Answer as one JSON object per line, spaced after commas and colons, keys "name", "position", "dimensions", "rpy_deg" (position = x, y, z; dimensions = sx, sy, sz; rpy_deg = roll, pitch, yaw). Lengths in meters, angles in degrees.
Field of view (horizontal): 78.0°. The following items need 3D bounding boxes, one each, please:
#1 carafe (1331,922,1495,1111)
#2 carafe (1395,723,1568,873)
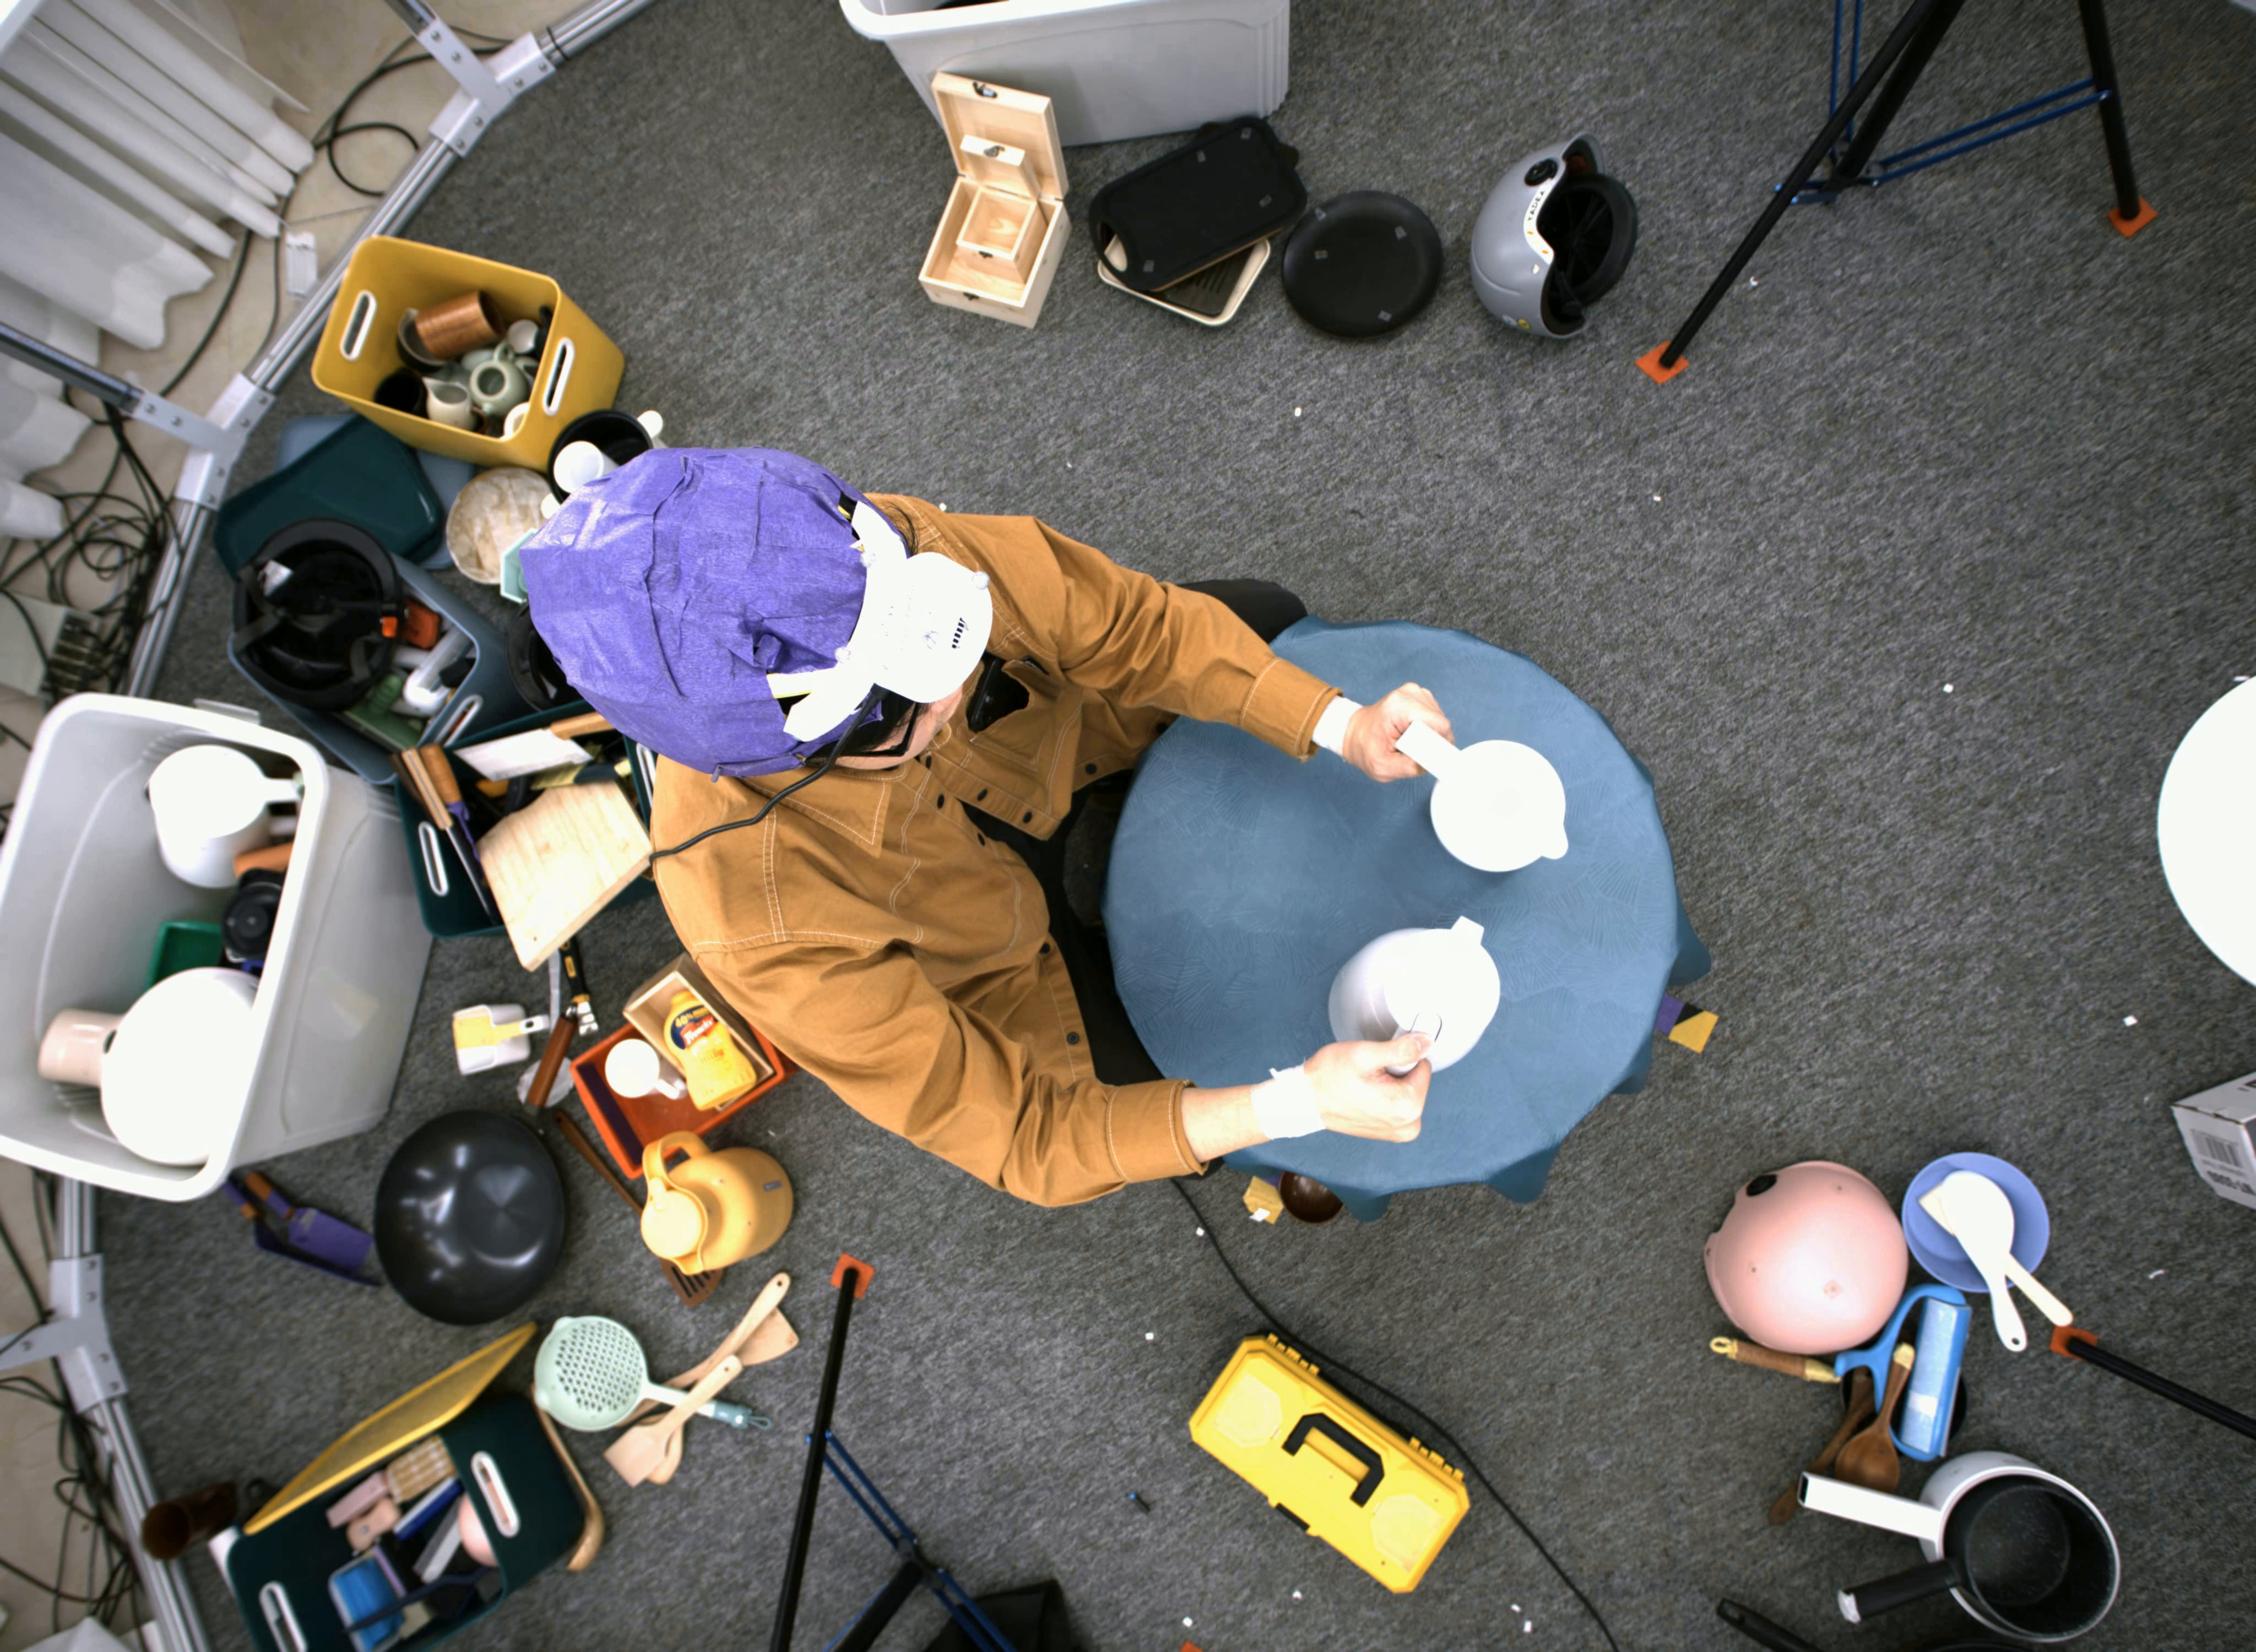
{"name": "carafe", "position": [0.246, 0.170, 1.211], "dimensions": [0.132, 0.250, 0.167], "rpy_deg": [28, 83, 8]}
{"name": "carafe", "position": [0.326, -0.027, 1.282], "dimensions": [0.172, 0.267, 0.125], "rpy_deg": [38, 100, 10]}
